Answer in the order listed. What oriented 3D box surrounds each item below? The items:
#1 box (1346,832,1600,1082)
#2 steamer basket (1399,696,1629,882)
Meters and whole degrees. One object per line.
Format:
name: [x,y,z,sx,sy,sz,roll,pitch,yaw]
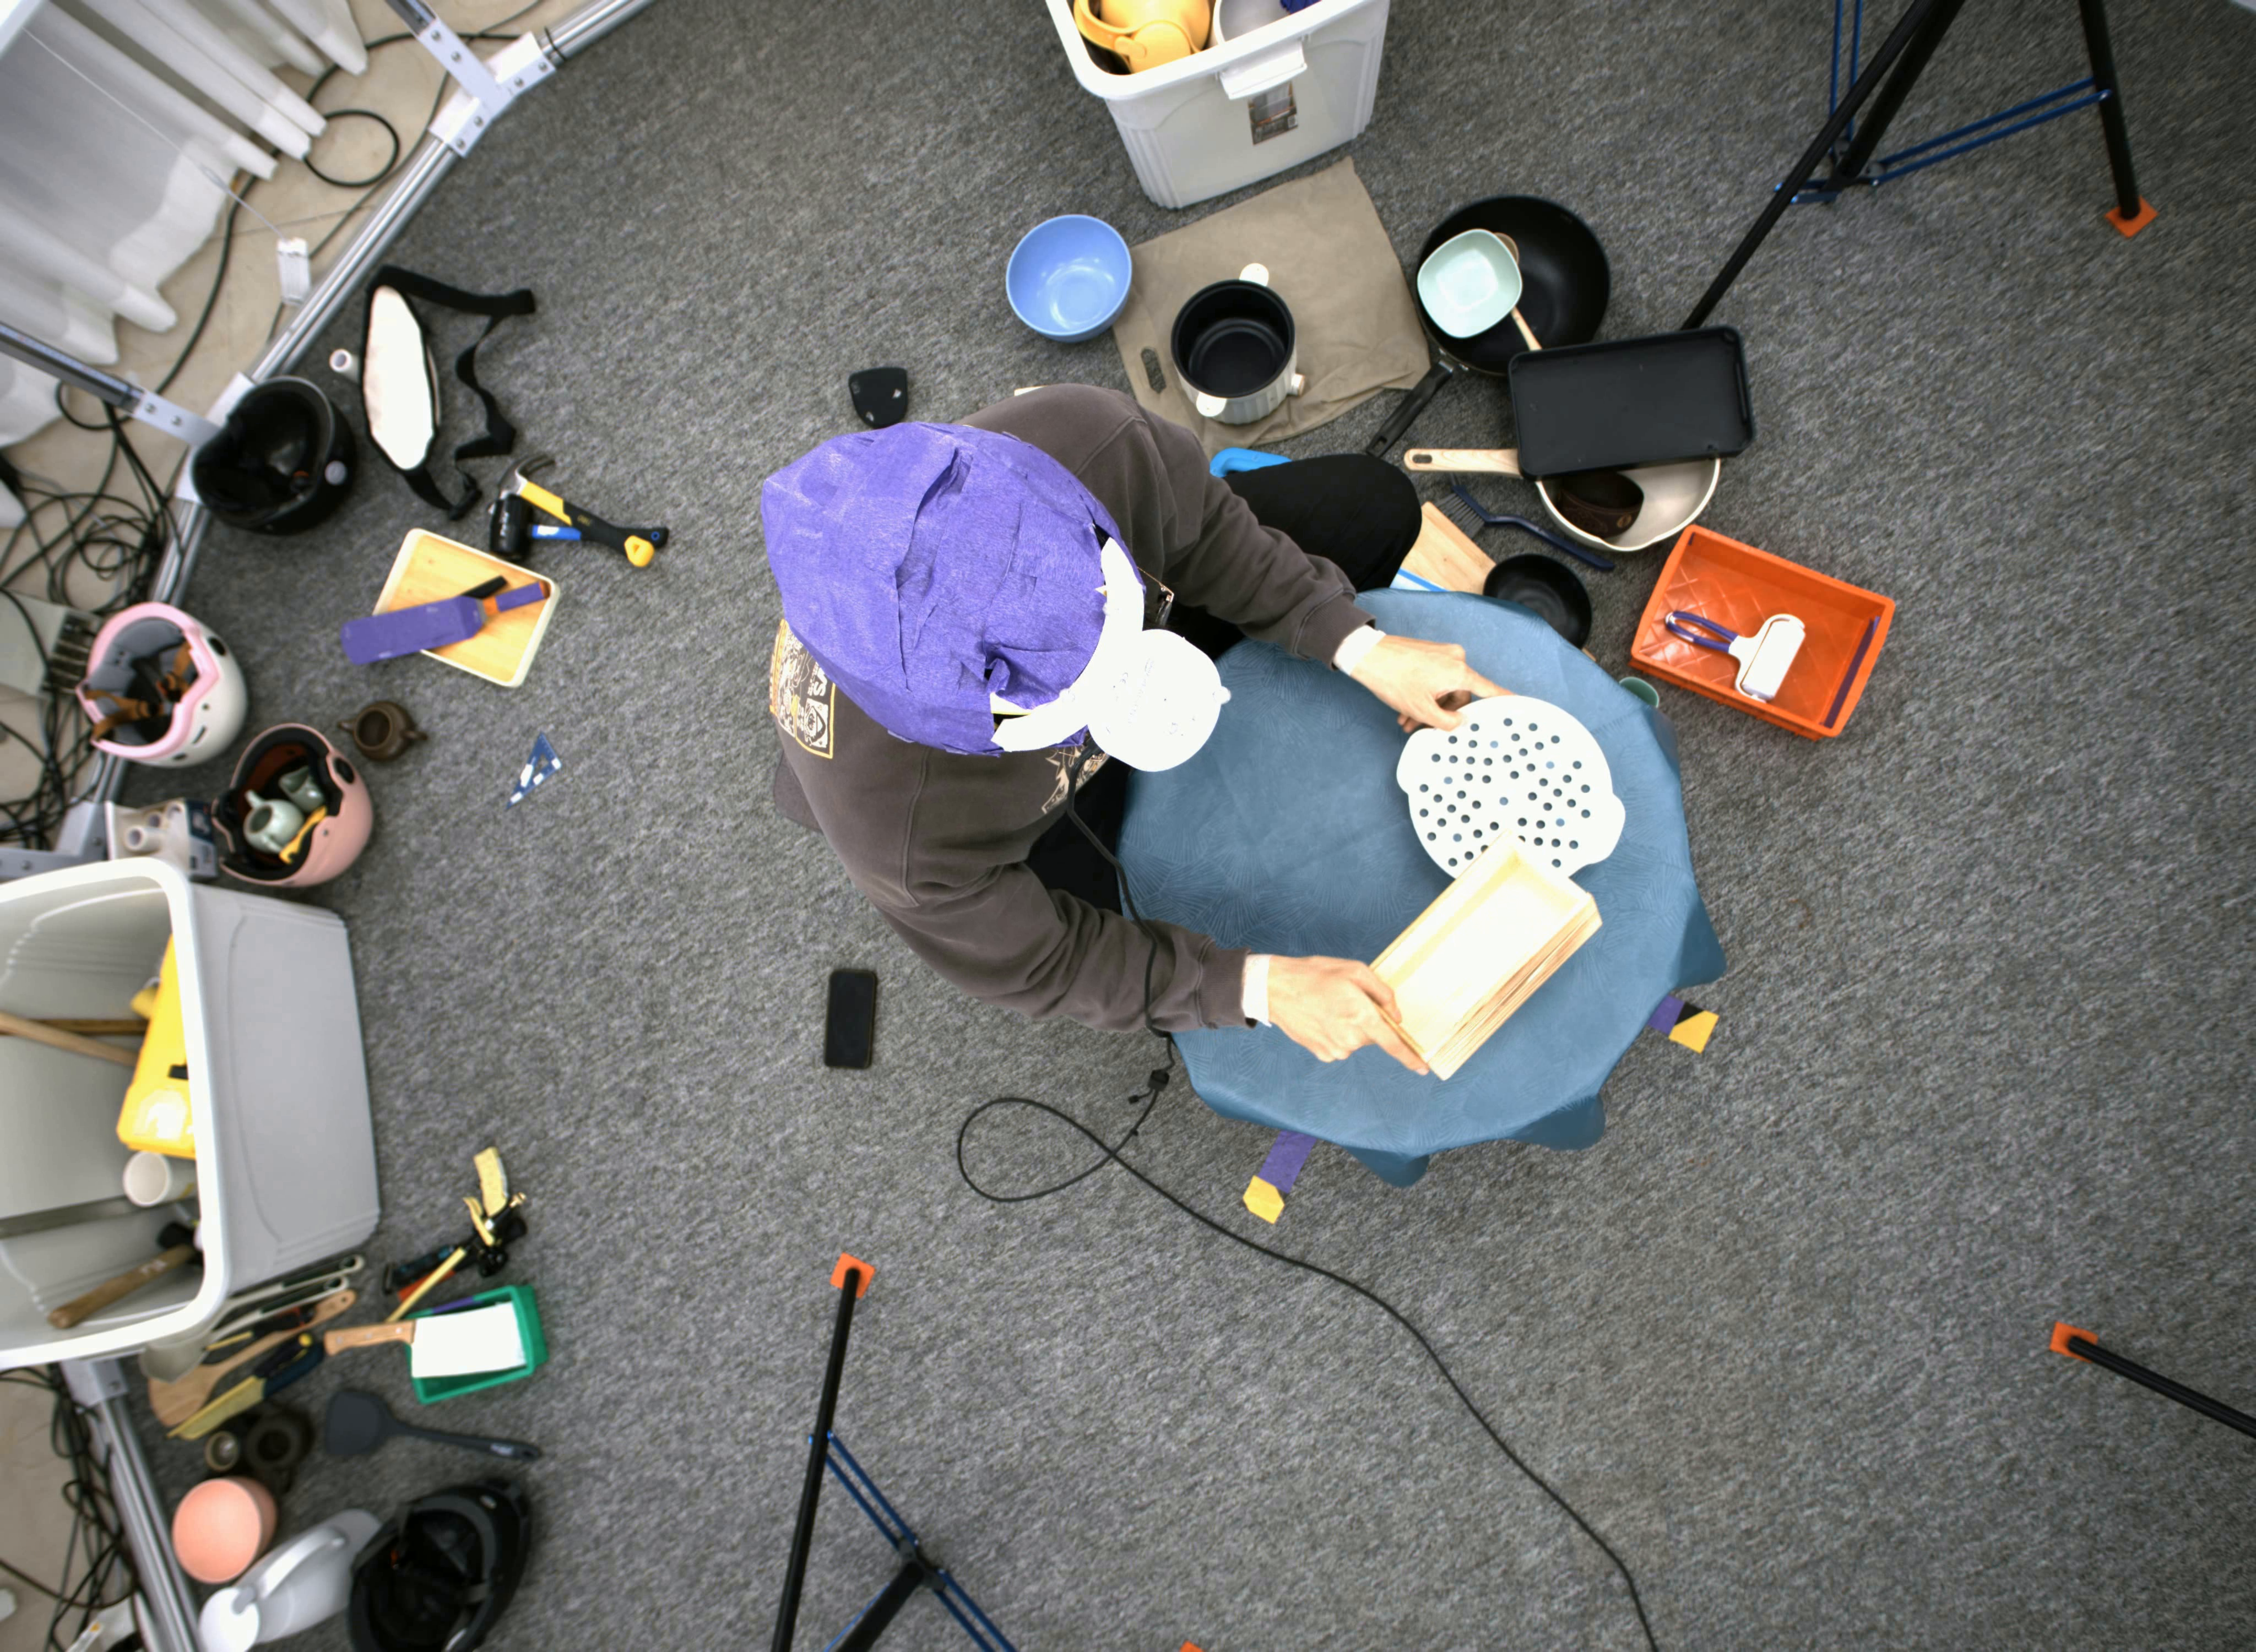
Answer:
box: [0.324,0.122,1.293,0.212,0.081,0.106,-45,58,4]
steamer basket: [0.393,-0.031,1.407,0.230,0.069,0.202,22,92,13]
